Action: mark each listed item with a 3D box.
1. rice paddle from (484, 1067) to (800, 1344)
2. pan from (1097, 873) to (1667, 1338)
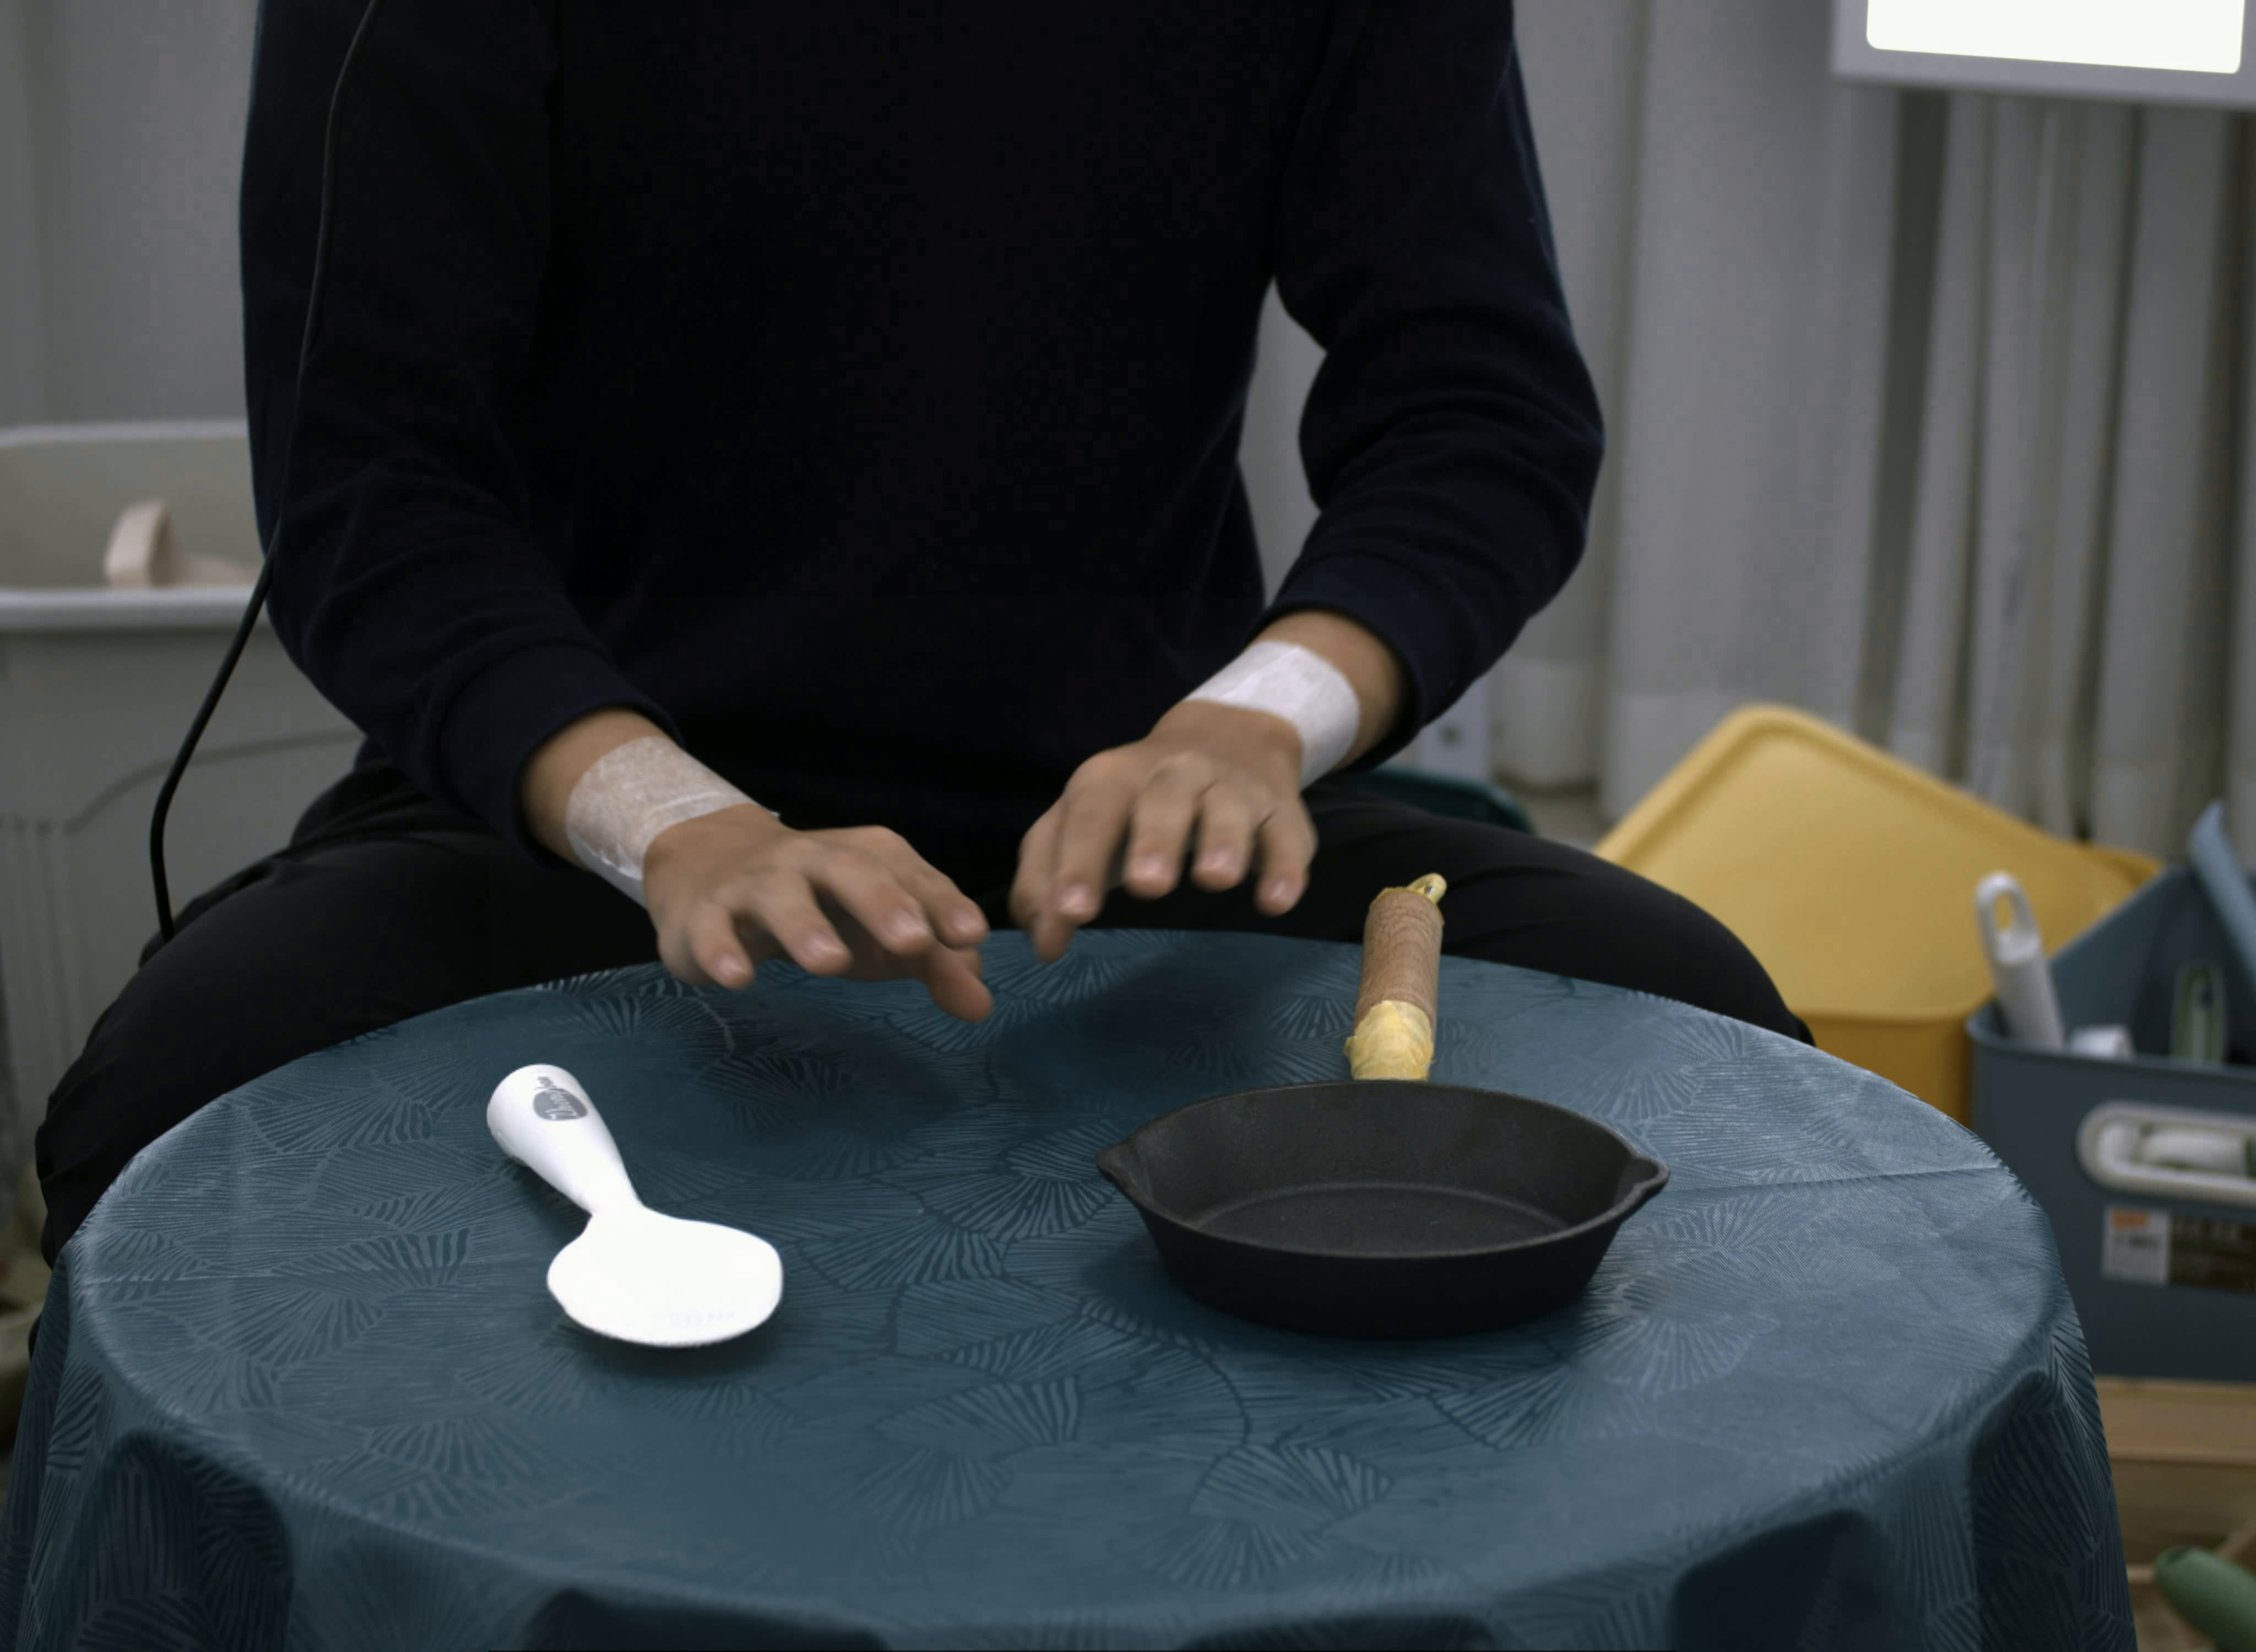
[{"bbox_3d":[-0.150,0.114,1.557,0.069,0.029,0.203,-10,18,-19],"label":"rice paddle"},{"bbox_3d":[0.084,0.083,1.635,0.168,0.050,0.323,2,17,6],"label":"pan"}]
